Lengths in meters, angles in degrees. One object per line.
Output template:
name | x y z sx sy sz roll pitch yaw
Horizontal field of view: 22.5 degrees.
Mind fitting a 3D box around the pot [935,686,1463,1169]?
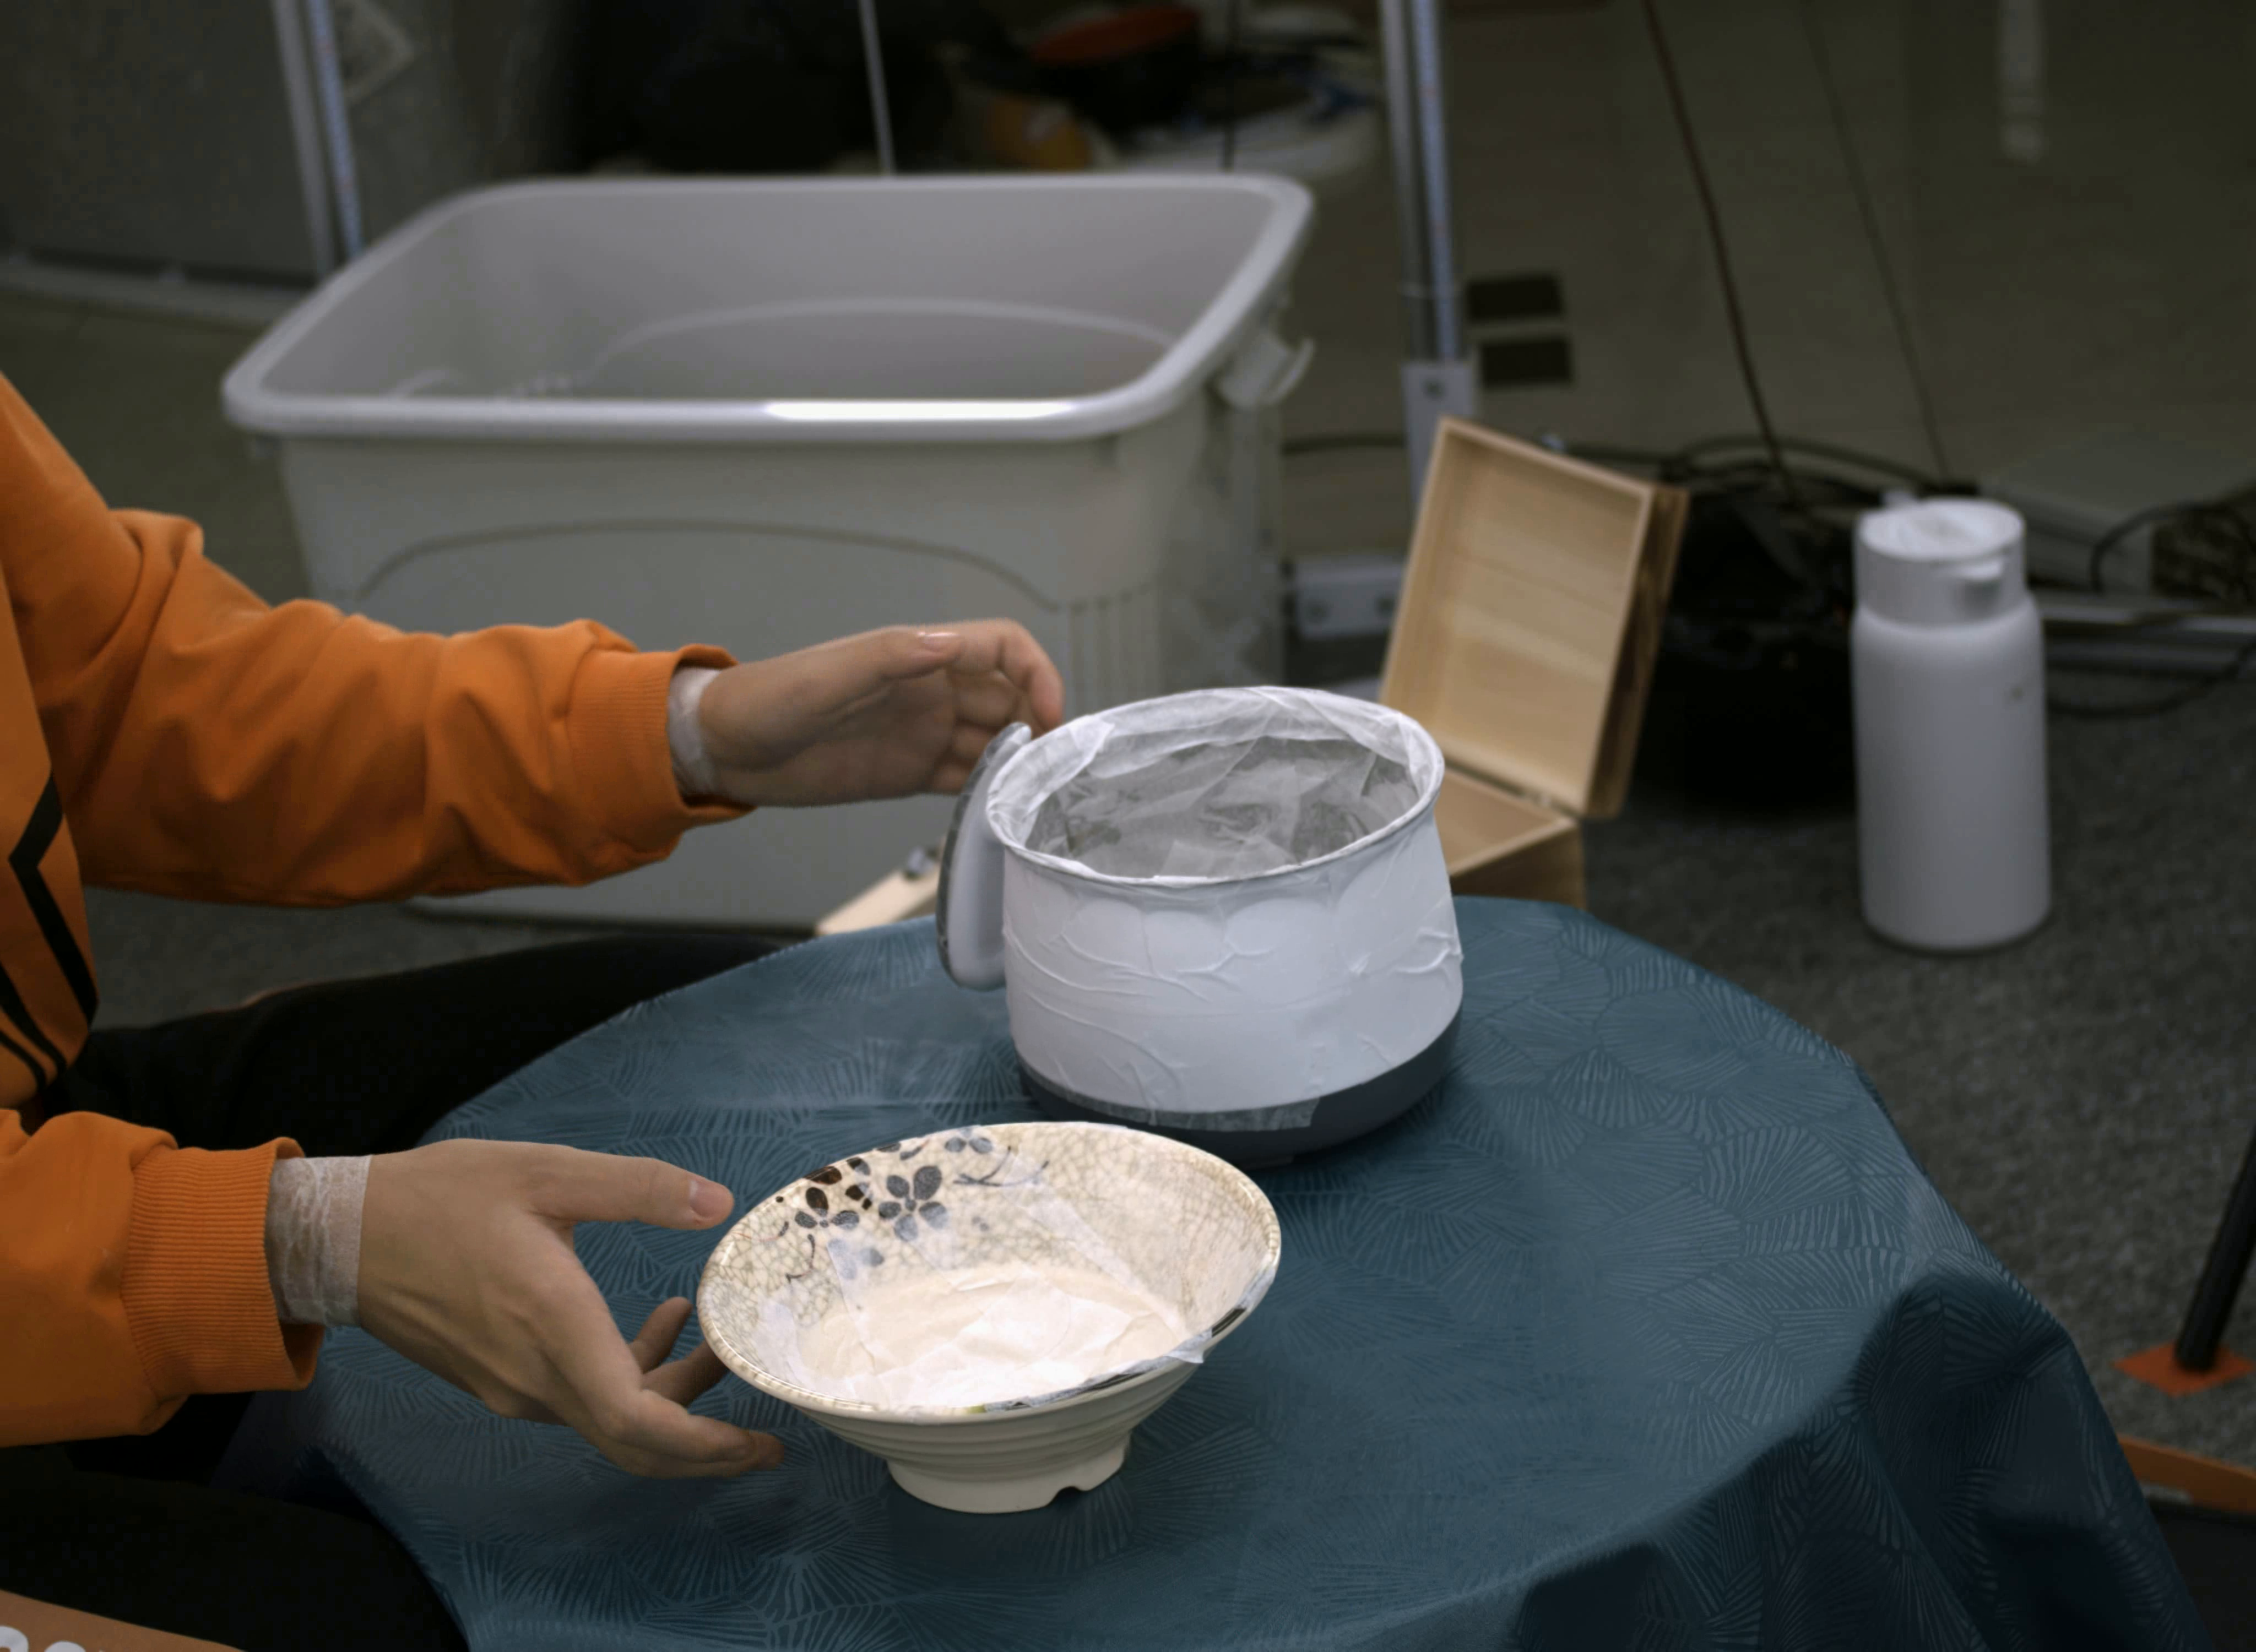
pot | 0.017 0.035 2.200 0.232 0.139 0.177 14 31 35

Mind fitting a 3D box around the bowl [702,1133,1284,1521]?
bowl | -0.041 0.186 1.970 0.204 0.079 0.201 -8 24 4
